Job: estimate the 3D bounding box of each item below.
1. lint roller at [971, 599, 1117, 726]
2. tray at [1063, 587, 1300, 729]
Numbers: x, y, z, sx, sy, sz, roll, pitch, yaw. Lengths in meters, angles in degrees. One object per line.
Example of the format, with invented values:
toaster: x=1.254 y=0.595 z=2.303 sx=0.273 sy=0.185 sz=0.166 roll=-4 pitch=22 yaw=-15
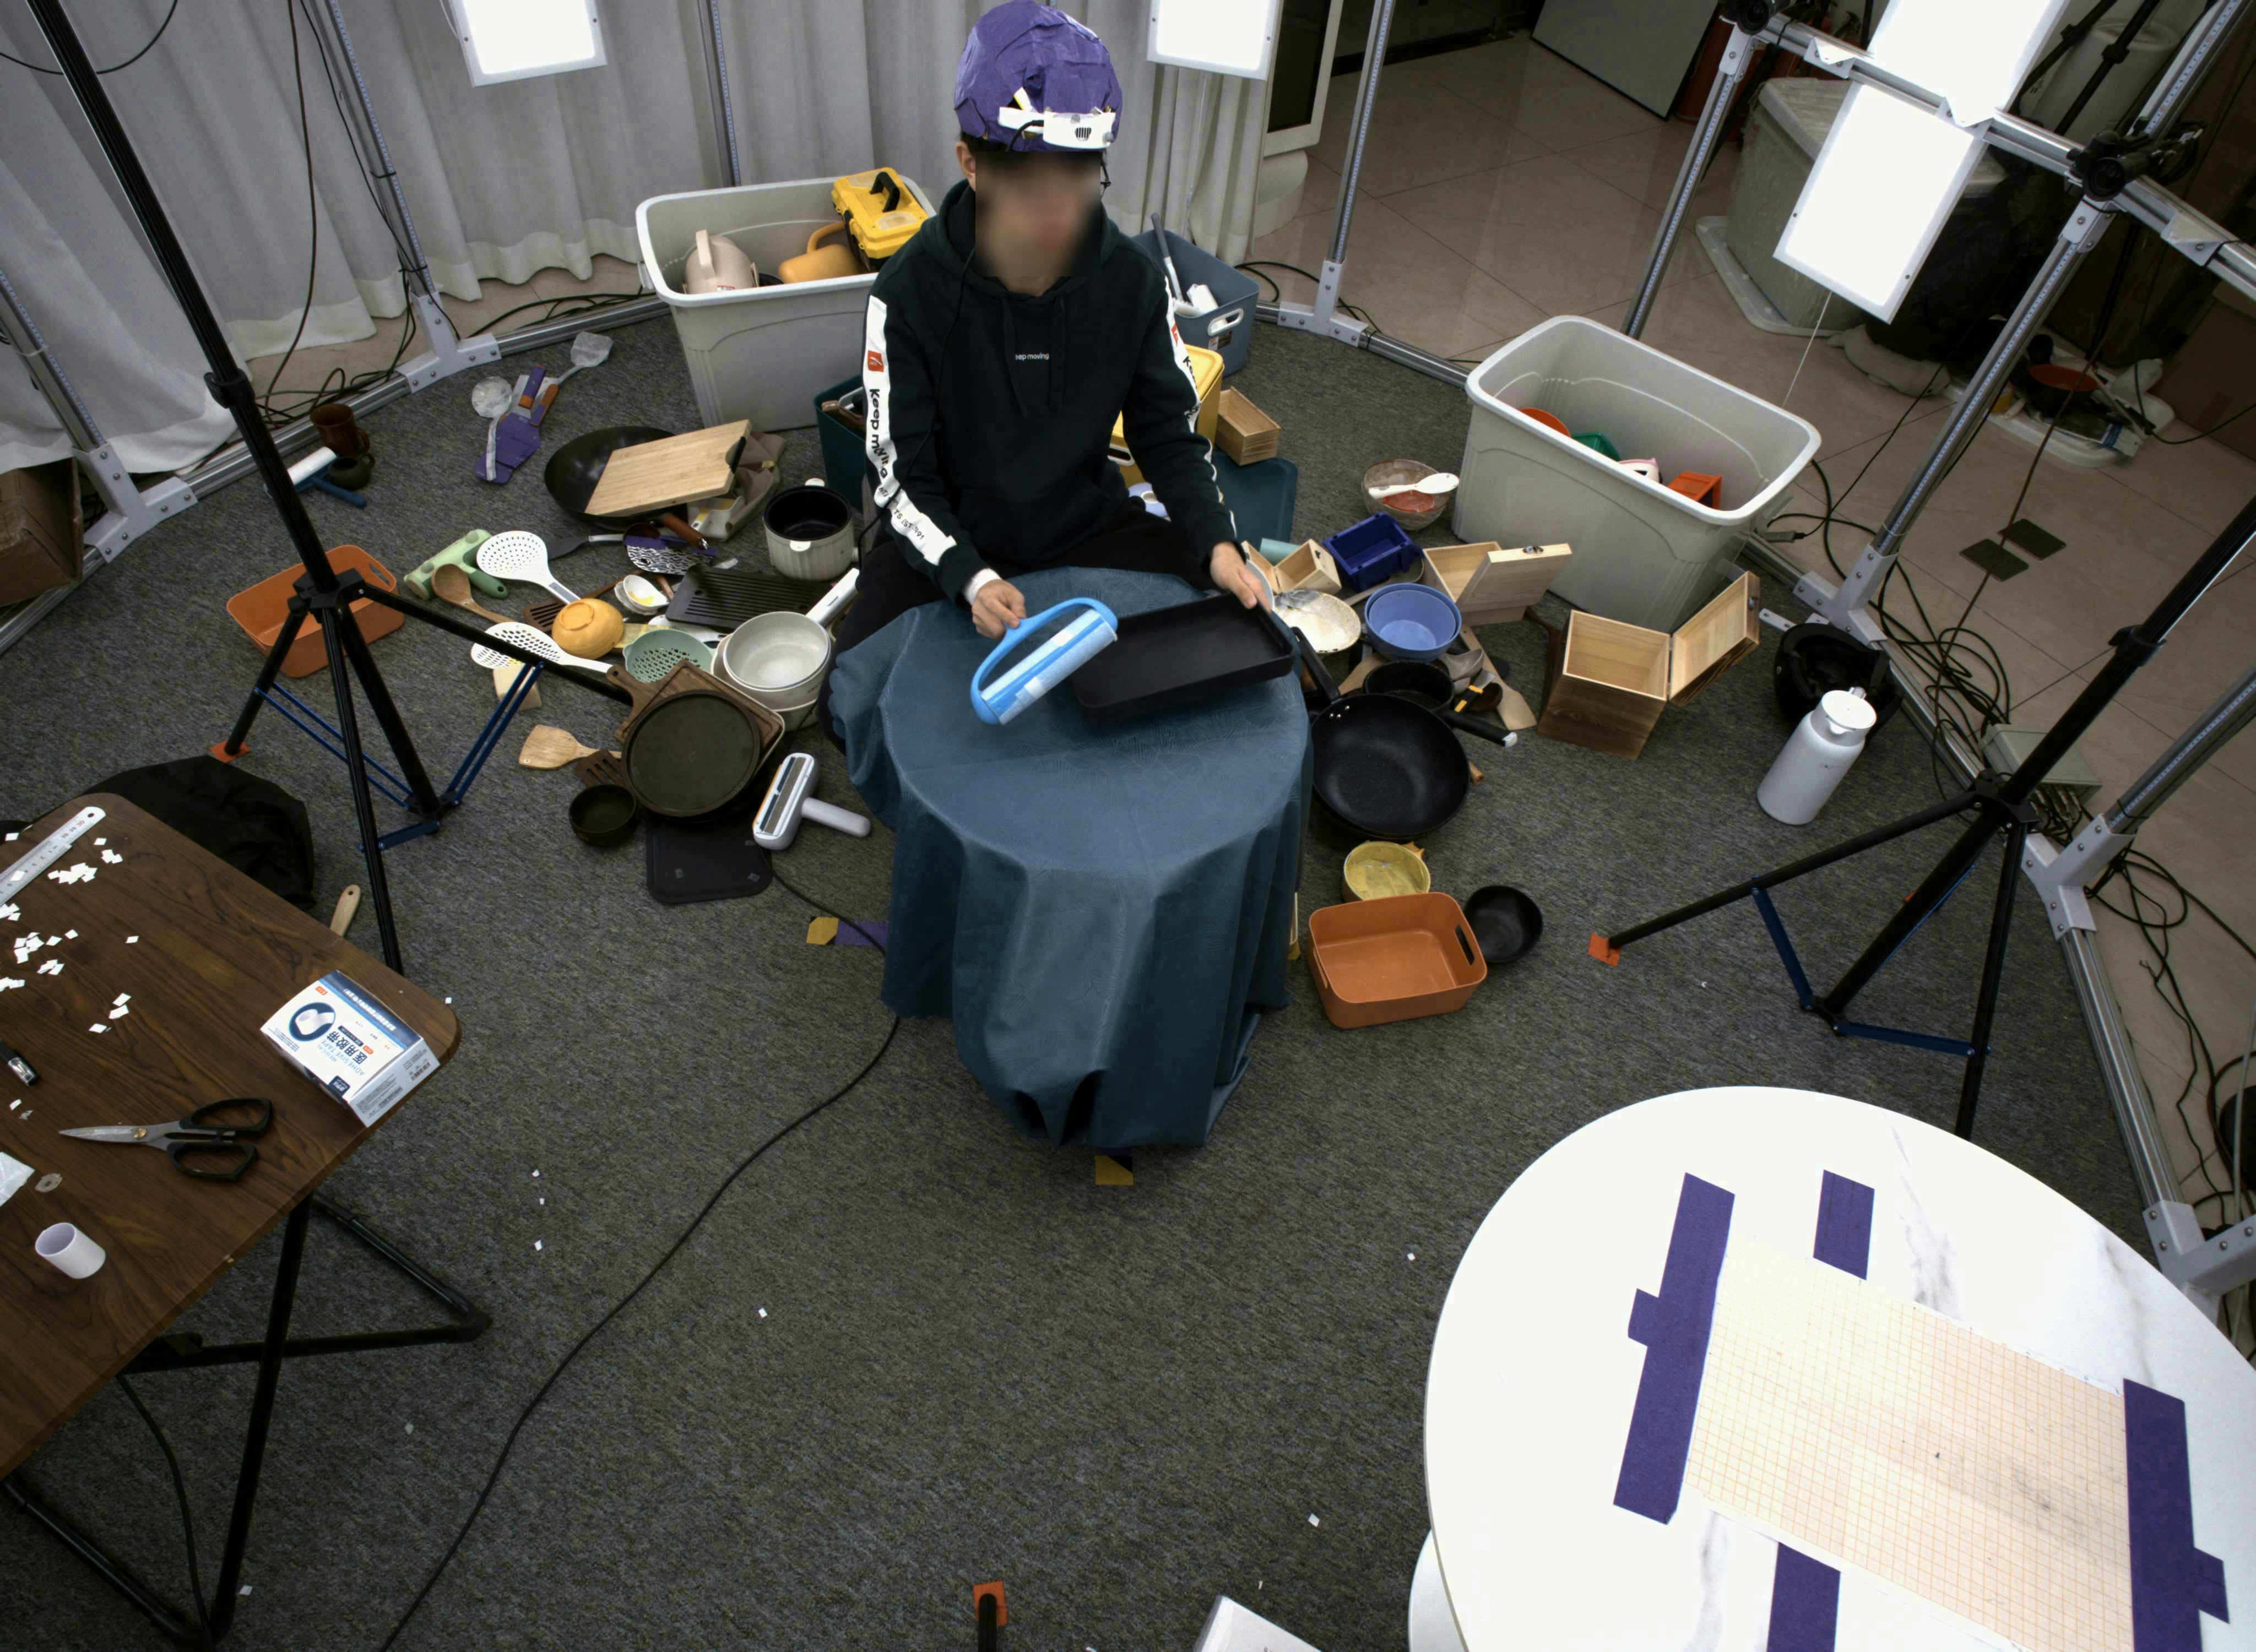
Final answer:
lint roller: x=-0.143 y=-0.252 z=1.763 sx=0.229 sy=0.066 sz=0.184 roll=-41 pitch=56 yaw=-5
tray: x=0.068 y=-0.243 z=1.823 sx=0.318 sy=0.036 sz=0.189 roll=-18 pitch=44 yaw=-12
